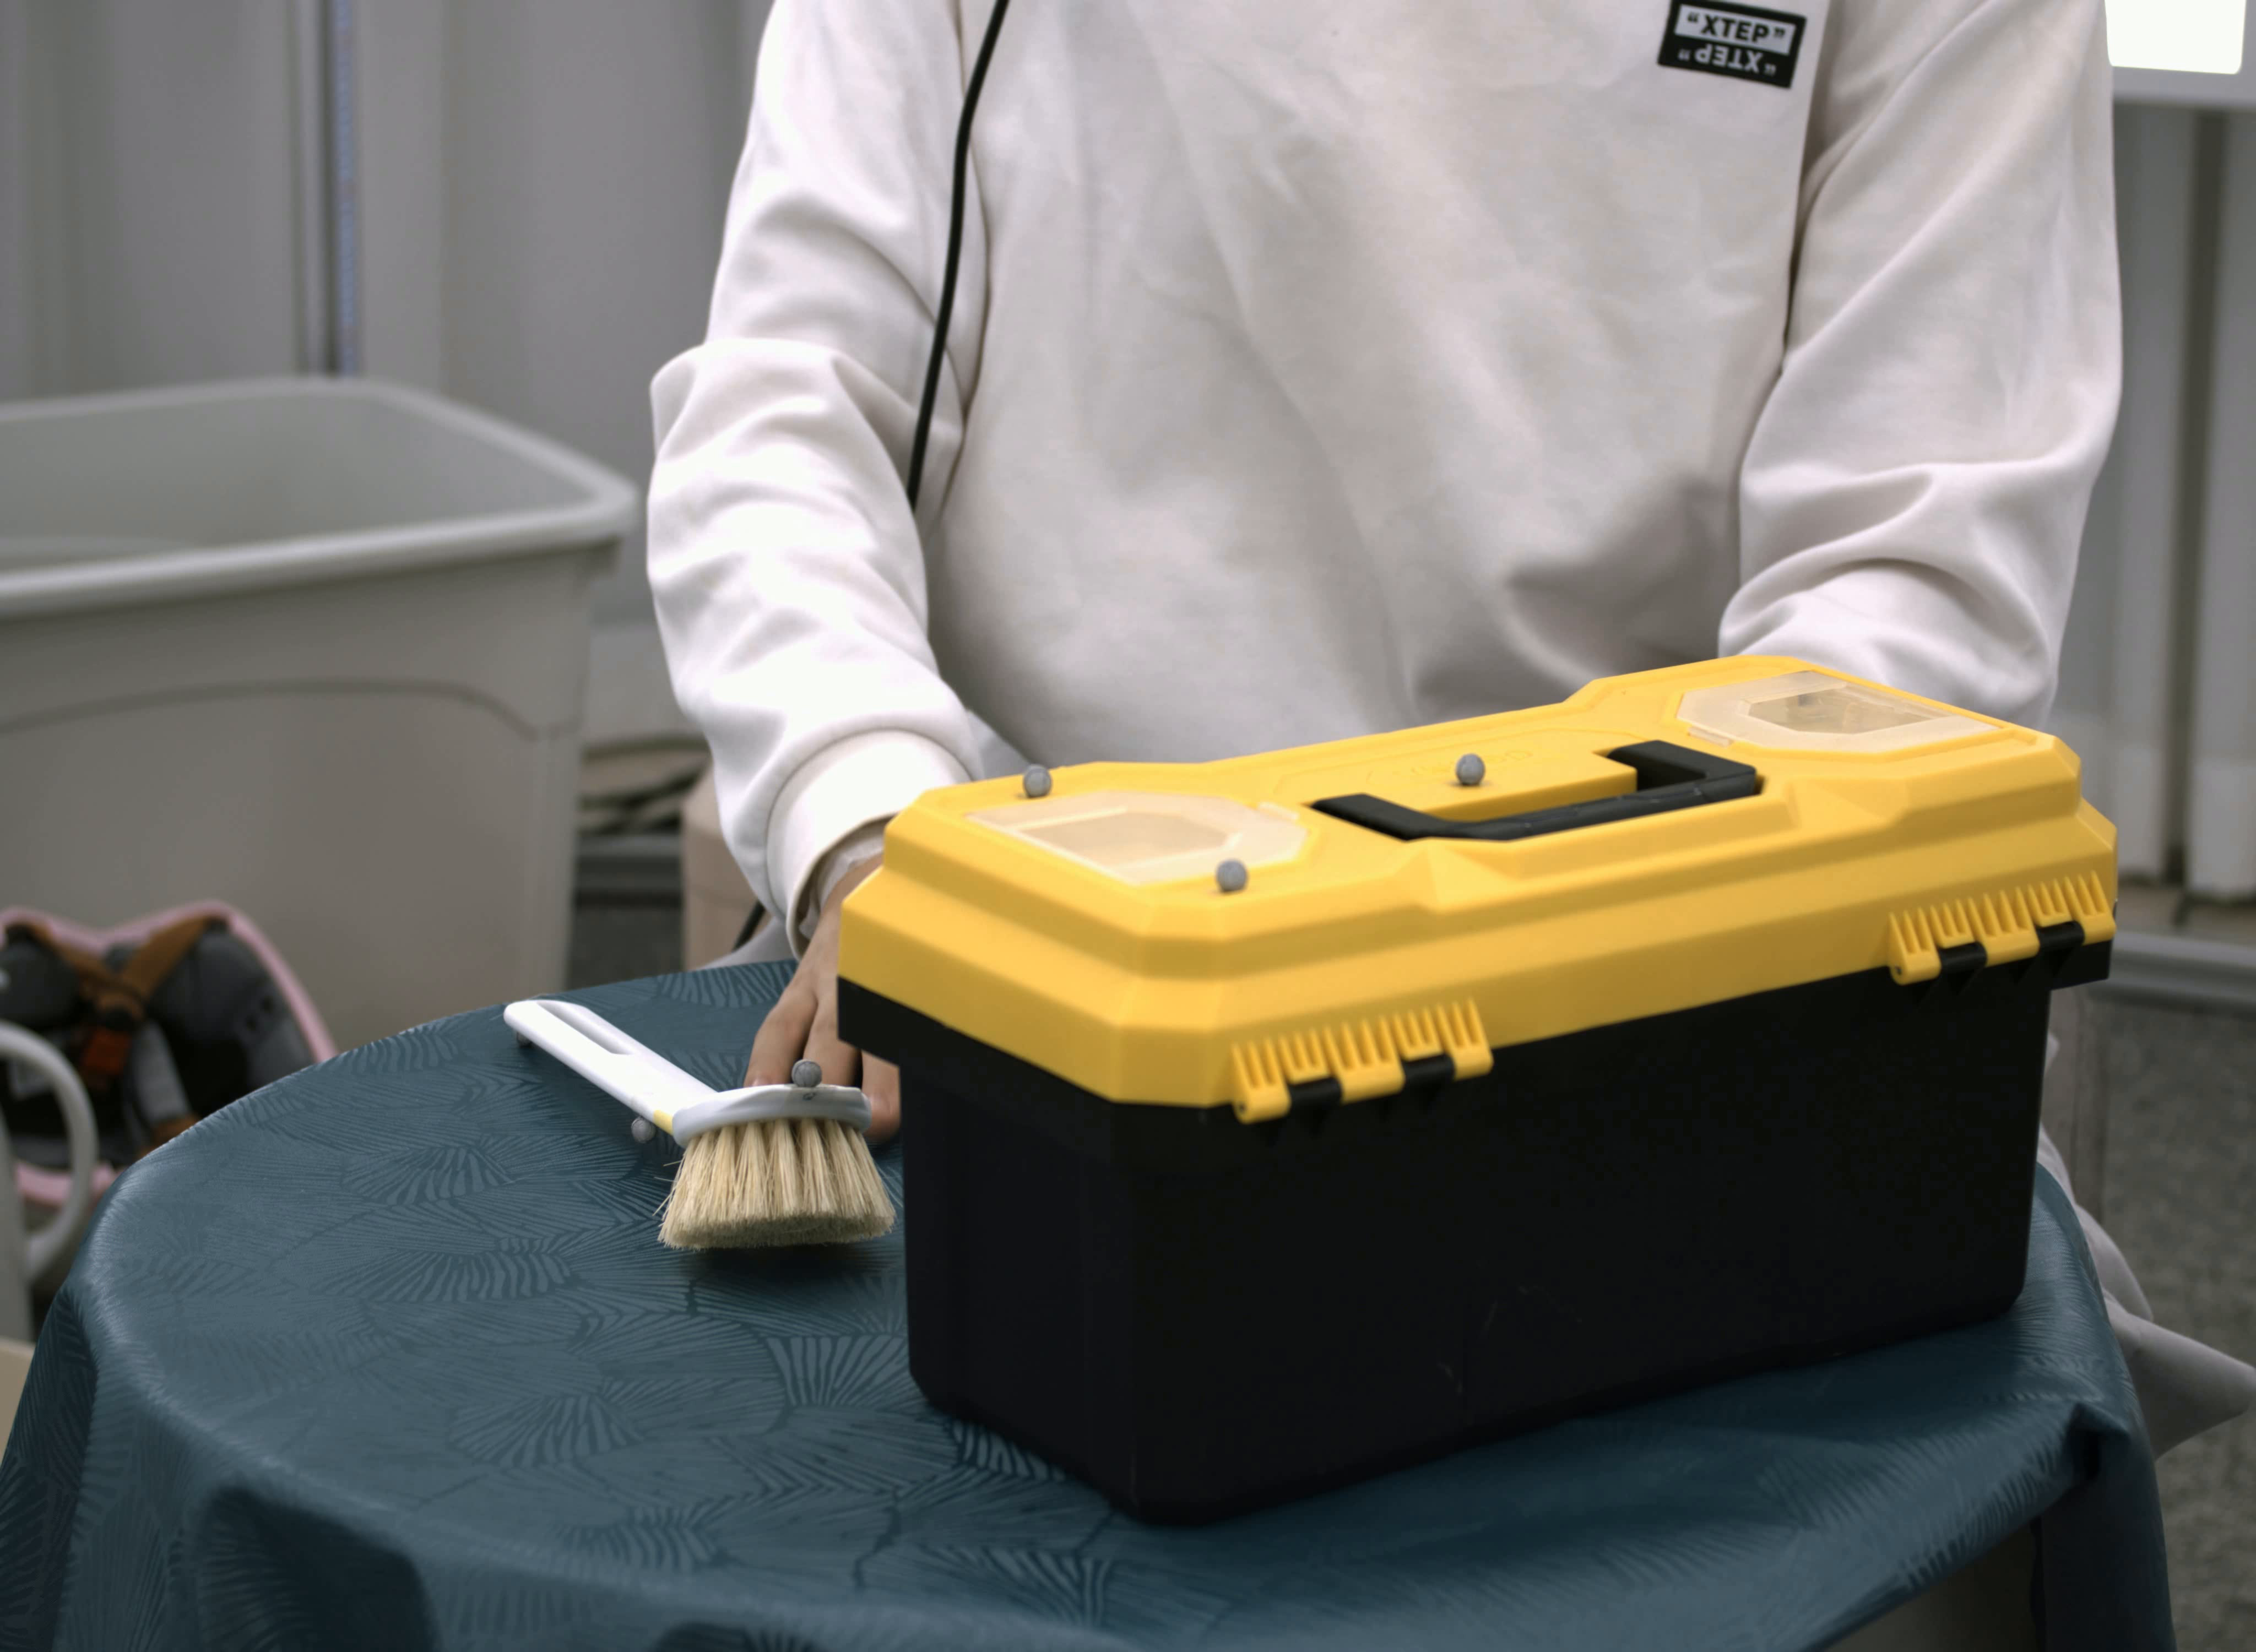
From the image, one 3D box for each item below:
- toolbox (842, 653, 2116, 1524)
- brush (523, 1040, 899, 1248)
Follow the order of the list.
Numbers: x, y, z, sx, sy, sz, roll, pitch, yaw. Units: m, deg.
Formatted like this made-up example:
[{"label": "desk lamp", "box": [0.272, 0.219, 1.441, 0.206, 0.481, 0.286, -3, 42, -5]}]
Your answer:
[{"label": "toolbox", "box": [0.101, 0.066, 1.478, 0.353, 0.174, 0.179, -9, 20, -34]}, {"label": "brush", "box": [-0.141, 0.098, 1.651, 0.069, 0.056, 0.264, 14, -7, -24]}]
